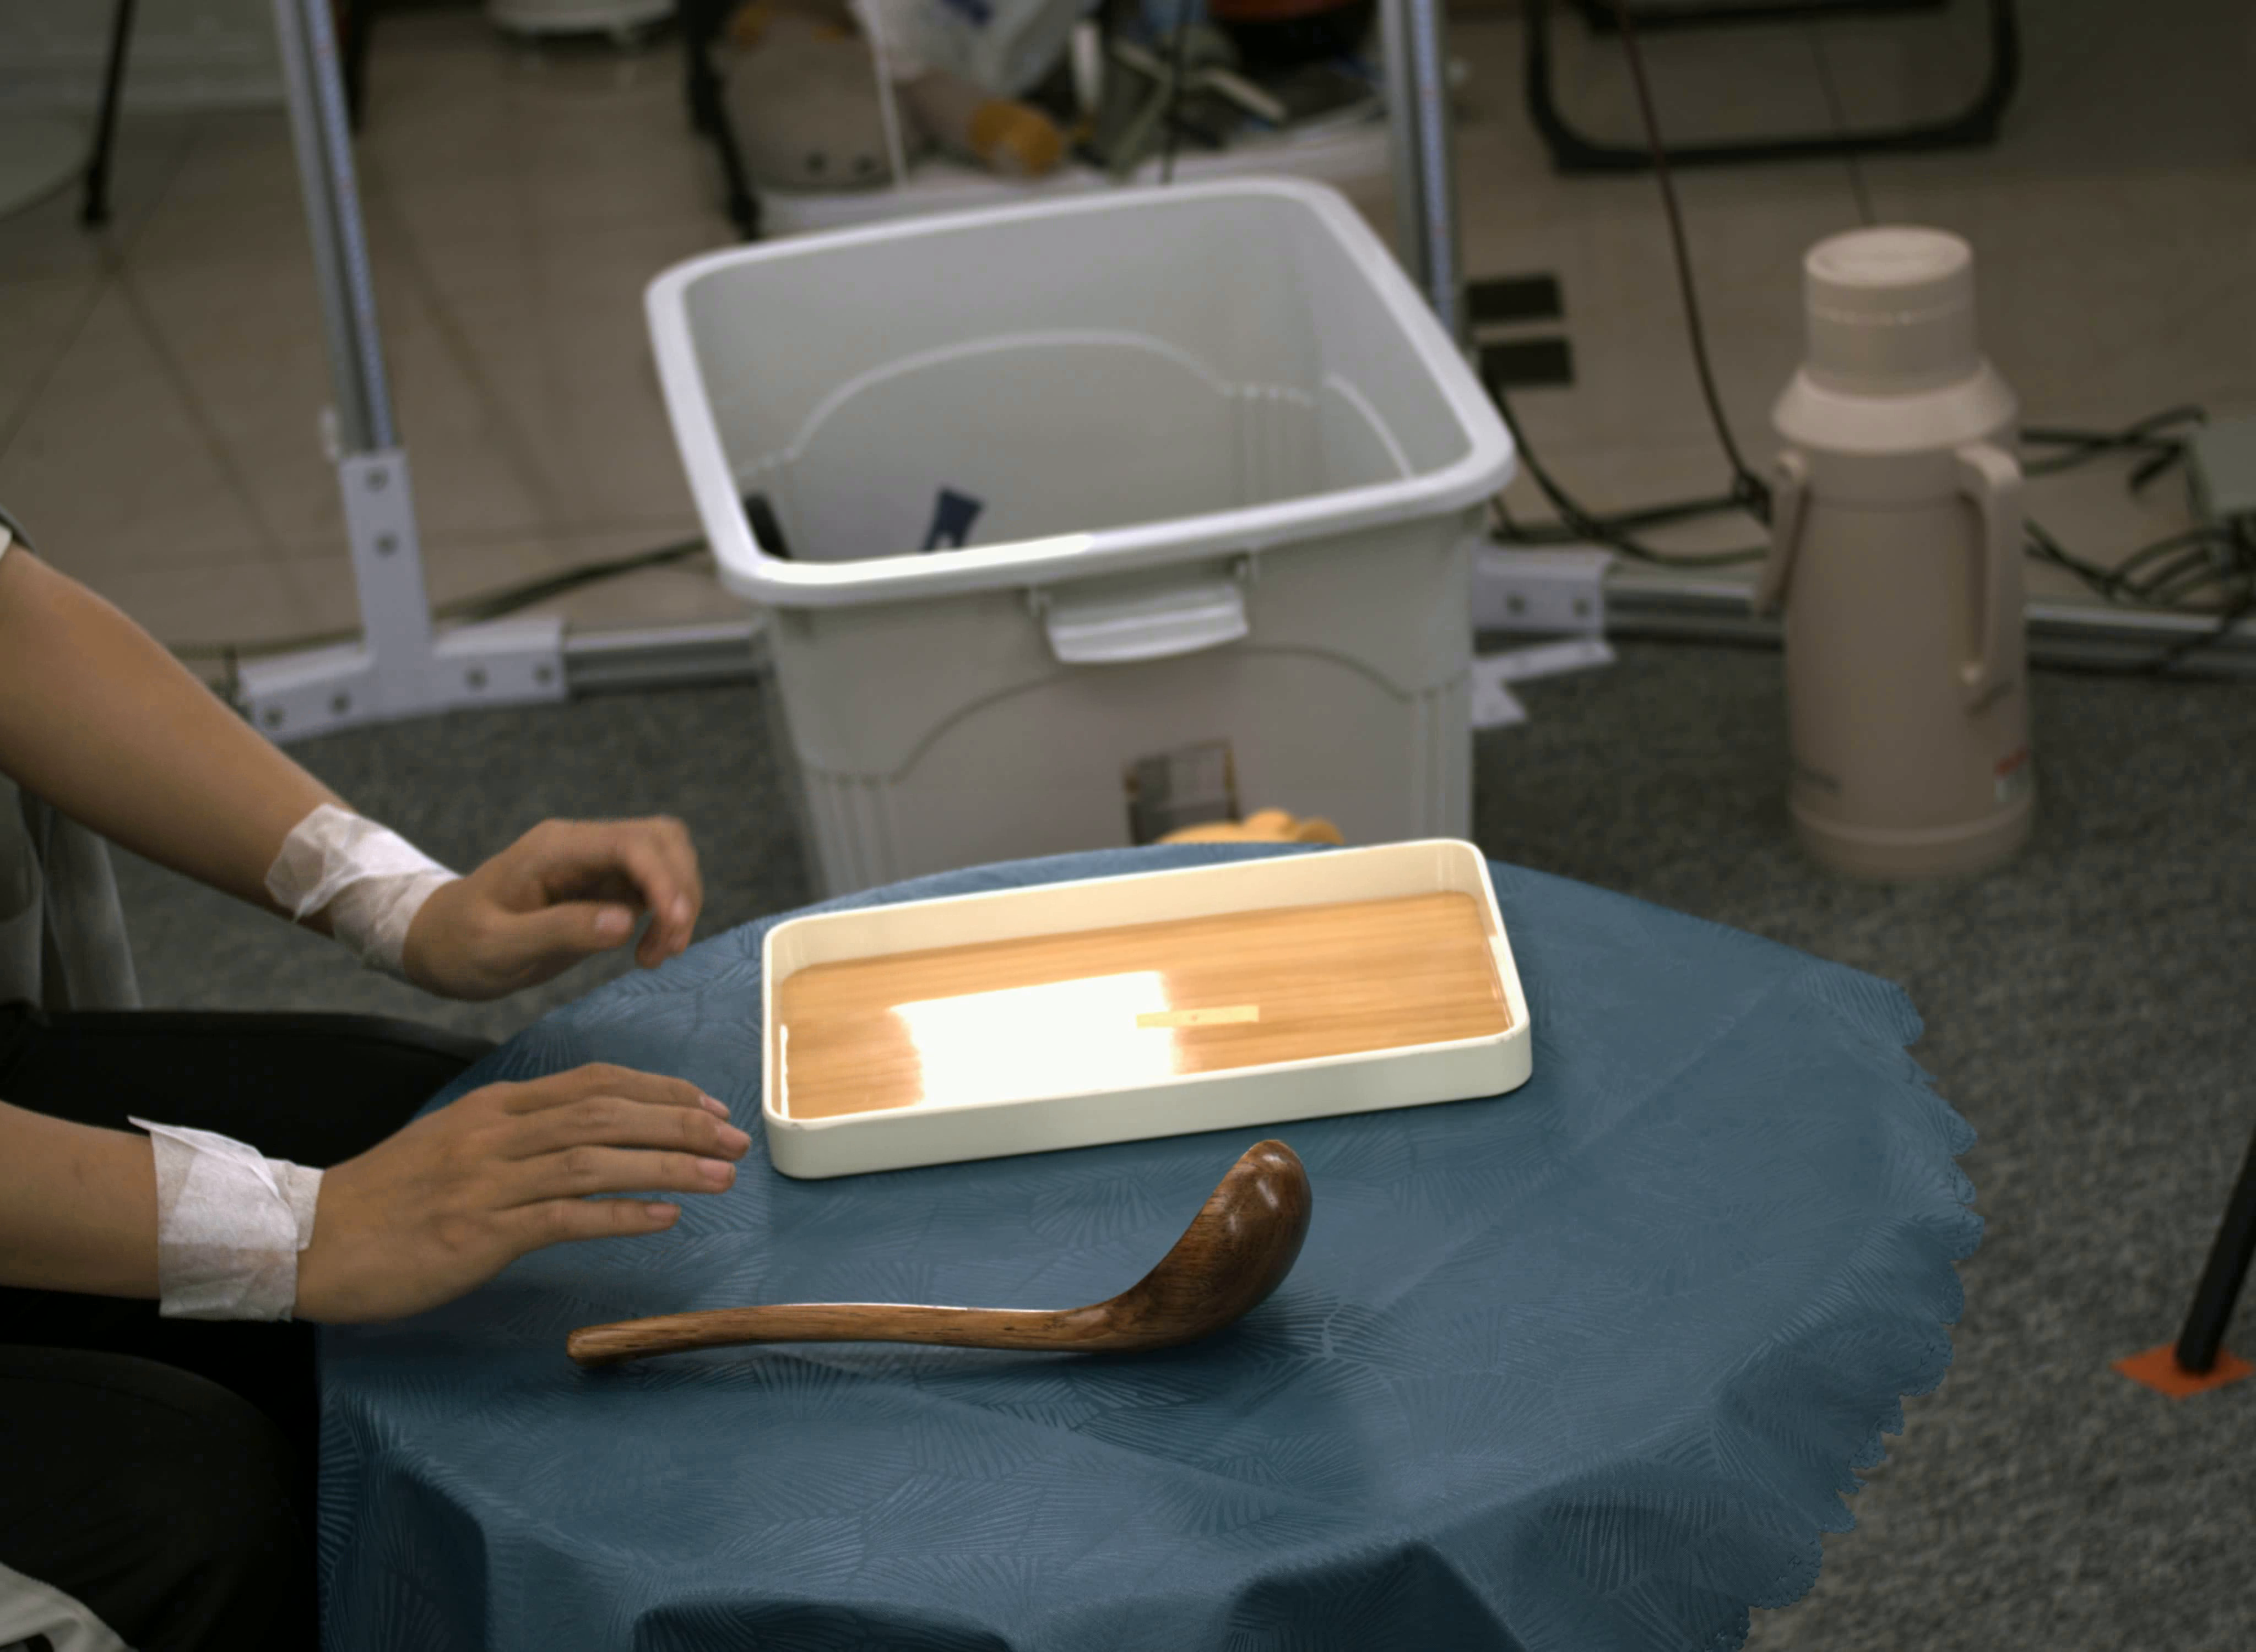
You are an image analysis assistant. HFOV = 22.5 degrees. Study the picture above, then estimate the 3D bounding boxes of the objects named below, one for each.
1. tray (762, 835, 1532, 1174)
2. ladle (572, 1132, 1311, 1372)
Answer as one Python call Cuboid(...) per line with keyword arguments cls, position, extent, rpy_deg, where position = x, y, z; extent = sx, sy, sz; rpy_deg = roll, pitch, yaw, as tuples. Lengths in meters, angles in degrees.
Cuboid(cls="tray", position=(0.004, 0.070, 2.266), extent=(0.300, 0.028, 0.189), rpy_deg=(-7, 25, 0))
Cuboid(cls="ladle", position=(-0.069, 0.154, 2.052), extent=(0.273, 0.076, 0.082), rpy_deg=(-3, -16, 11))
